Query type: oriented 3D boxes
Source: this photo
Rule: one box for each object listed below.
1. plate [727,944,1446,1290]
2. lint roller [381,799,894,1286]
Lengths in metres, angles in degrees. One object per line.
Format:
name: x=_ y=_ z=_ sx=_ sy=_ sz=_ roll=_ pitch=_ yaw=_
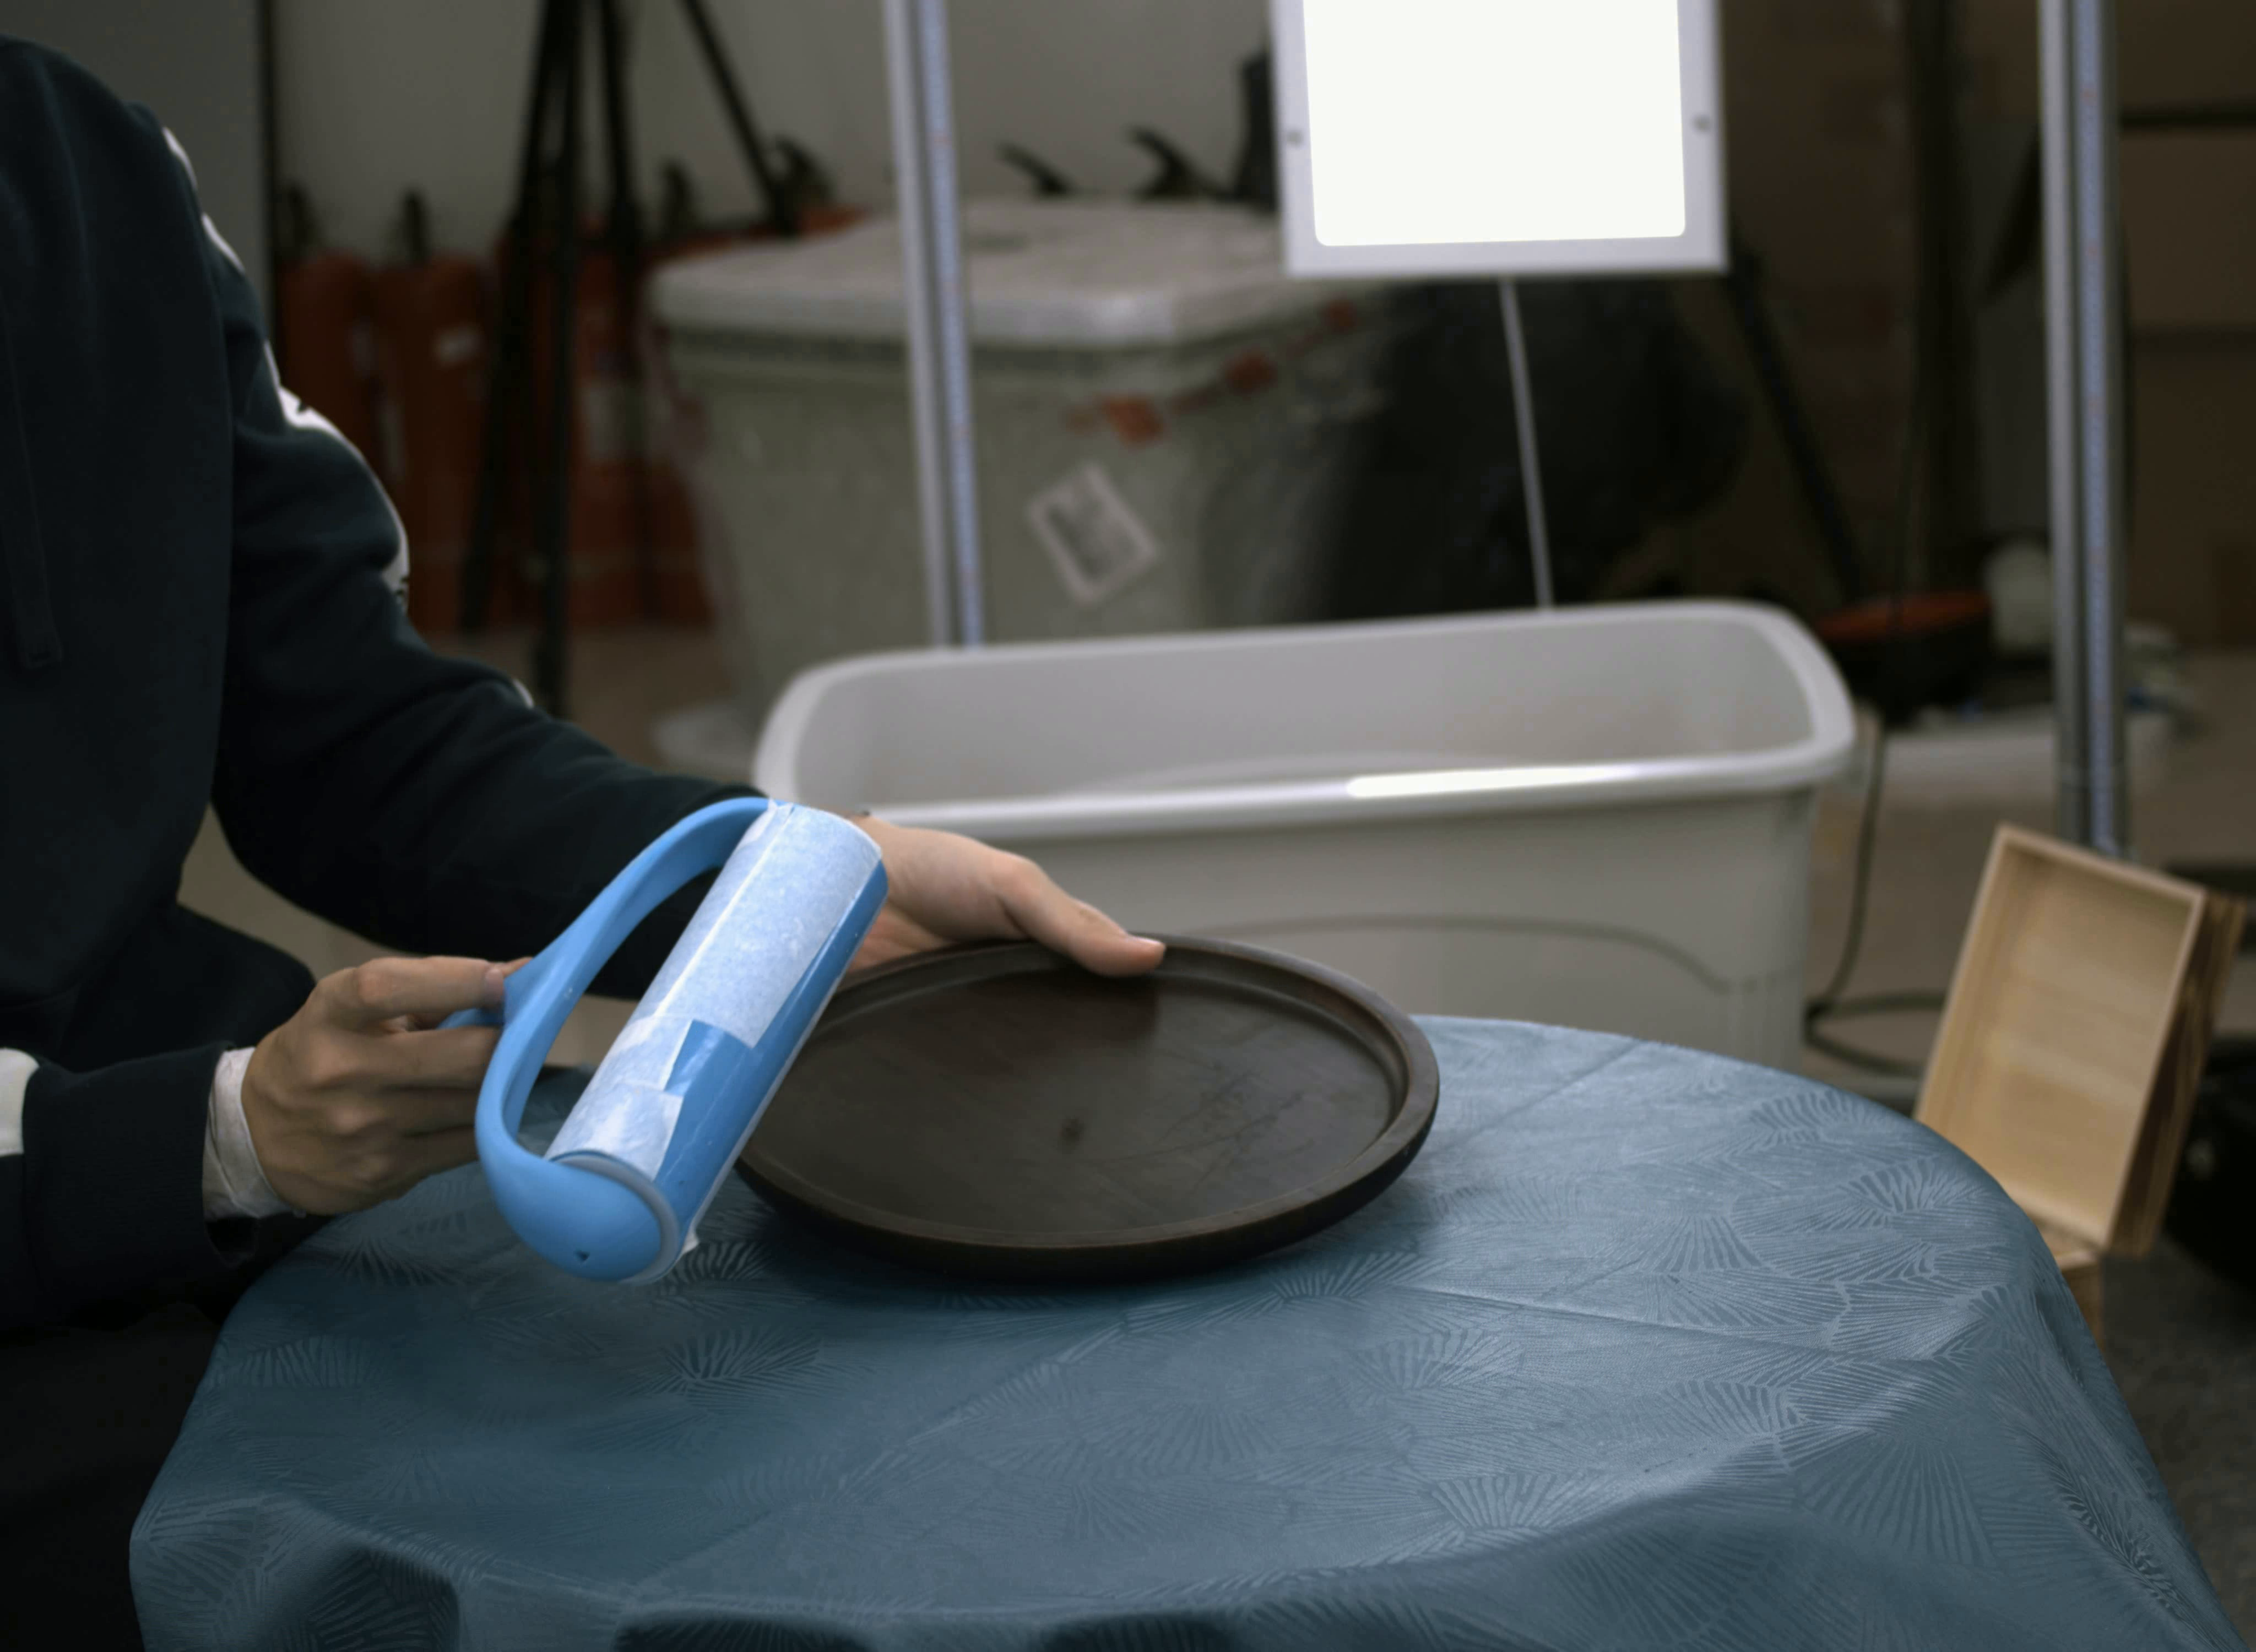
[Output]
plate: x=-0.017 y=0.098 z=1.900 sx=0.254 sy=0.029 sz=0.254 roll=-3 pitch=23 yaw=0
lint roller: x=-0.186 y=0.080 z=1.830 sx=0.183 sy=0.067 sz=0.226 roll=-13 pitch=31 yaw=28
